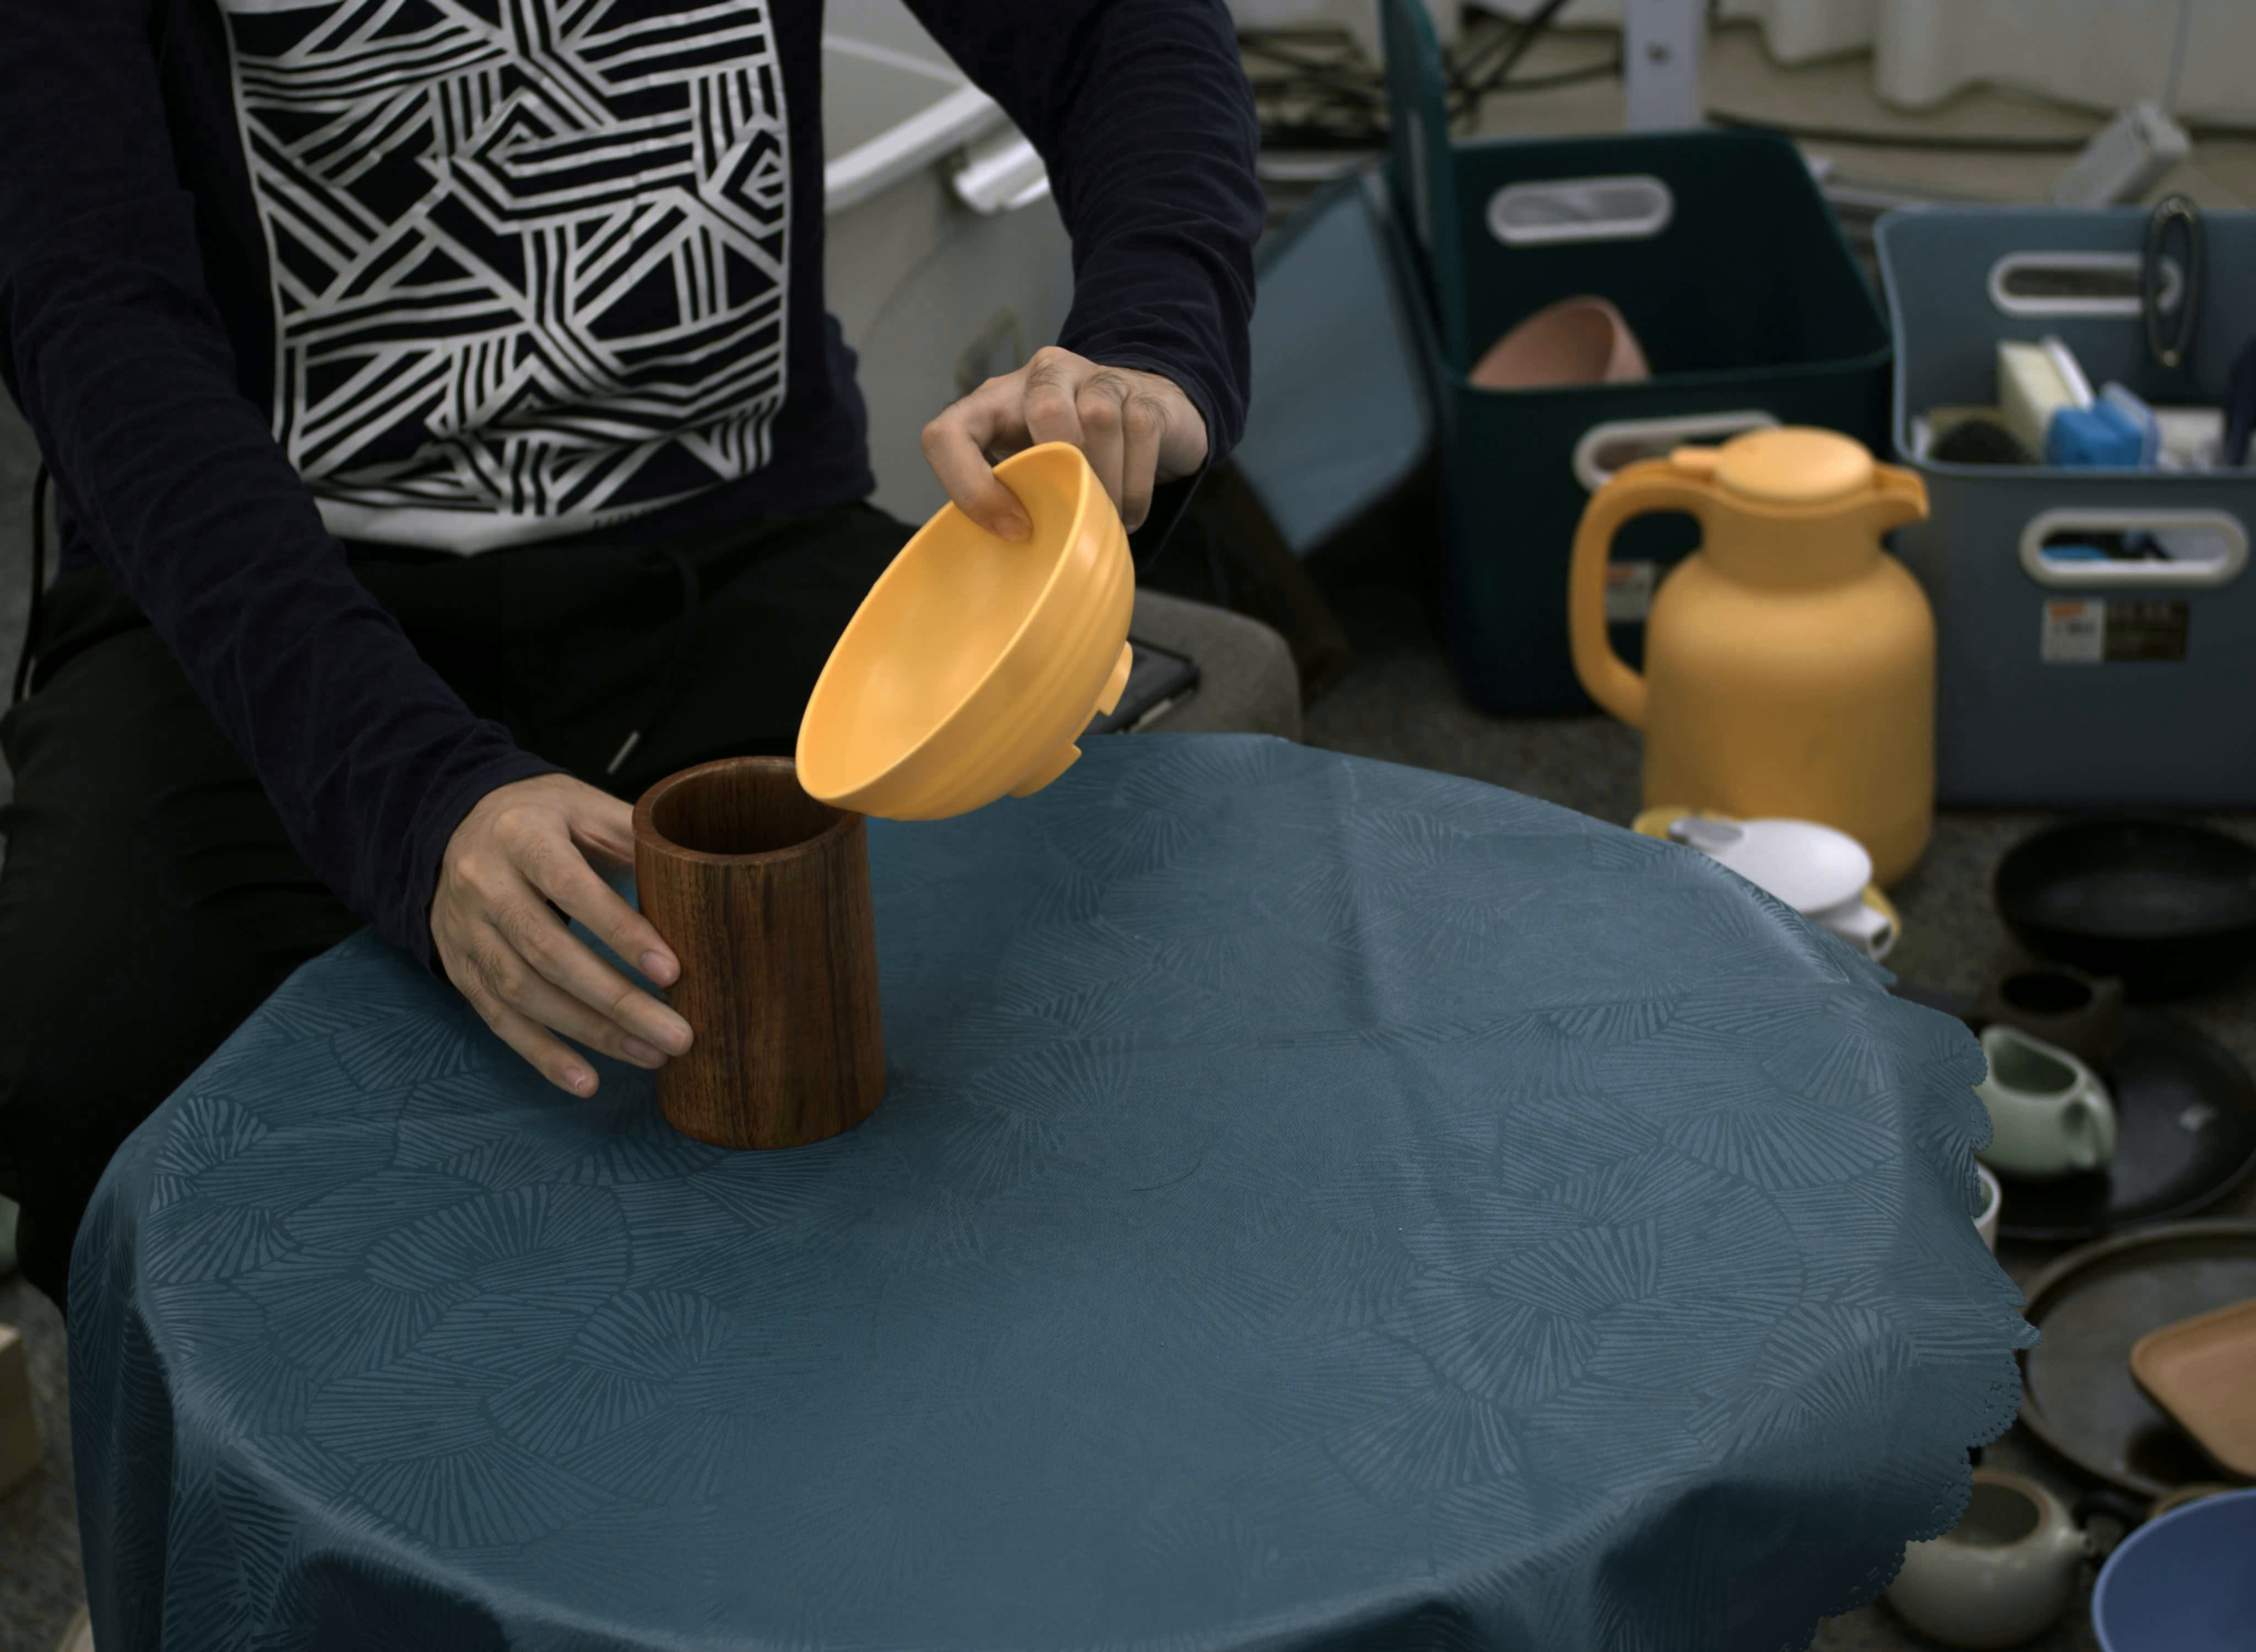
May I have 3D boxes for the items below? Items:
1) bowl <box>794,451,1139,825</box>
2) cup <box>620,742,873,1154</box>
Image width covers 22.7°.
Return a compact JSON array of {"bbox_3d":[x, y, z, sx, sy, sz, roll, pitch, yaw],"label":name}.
[{"bbox_3d":[-0.041,-0.051,1.871,0.143,0.060,0.148,-41,23,22],"label":"bowl"},{"bbox_3d":[-0.128,0.041,1.902,0.087,0.117,0.089,1,25,0],"label":"cup"}]
